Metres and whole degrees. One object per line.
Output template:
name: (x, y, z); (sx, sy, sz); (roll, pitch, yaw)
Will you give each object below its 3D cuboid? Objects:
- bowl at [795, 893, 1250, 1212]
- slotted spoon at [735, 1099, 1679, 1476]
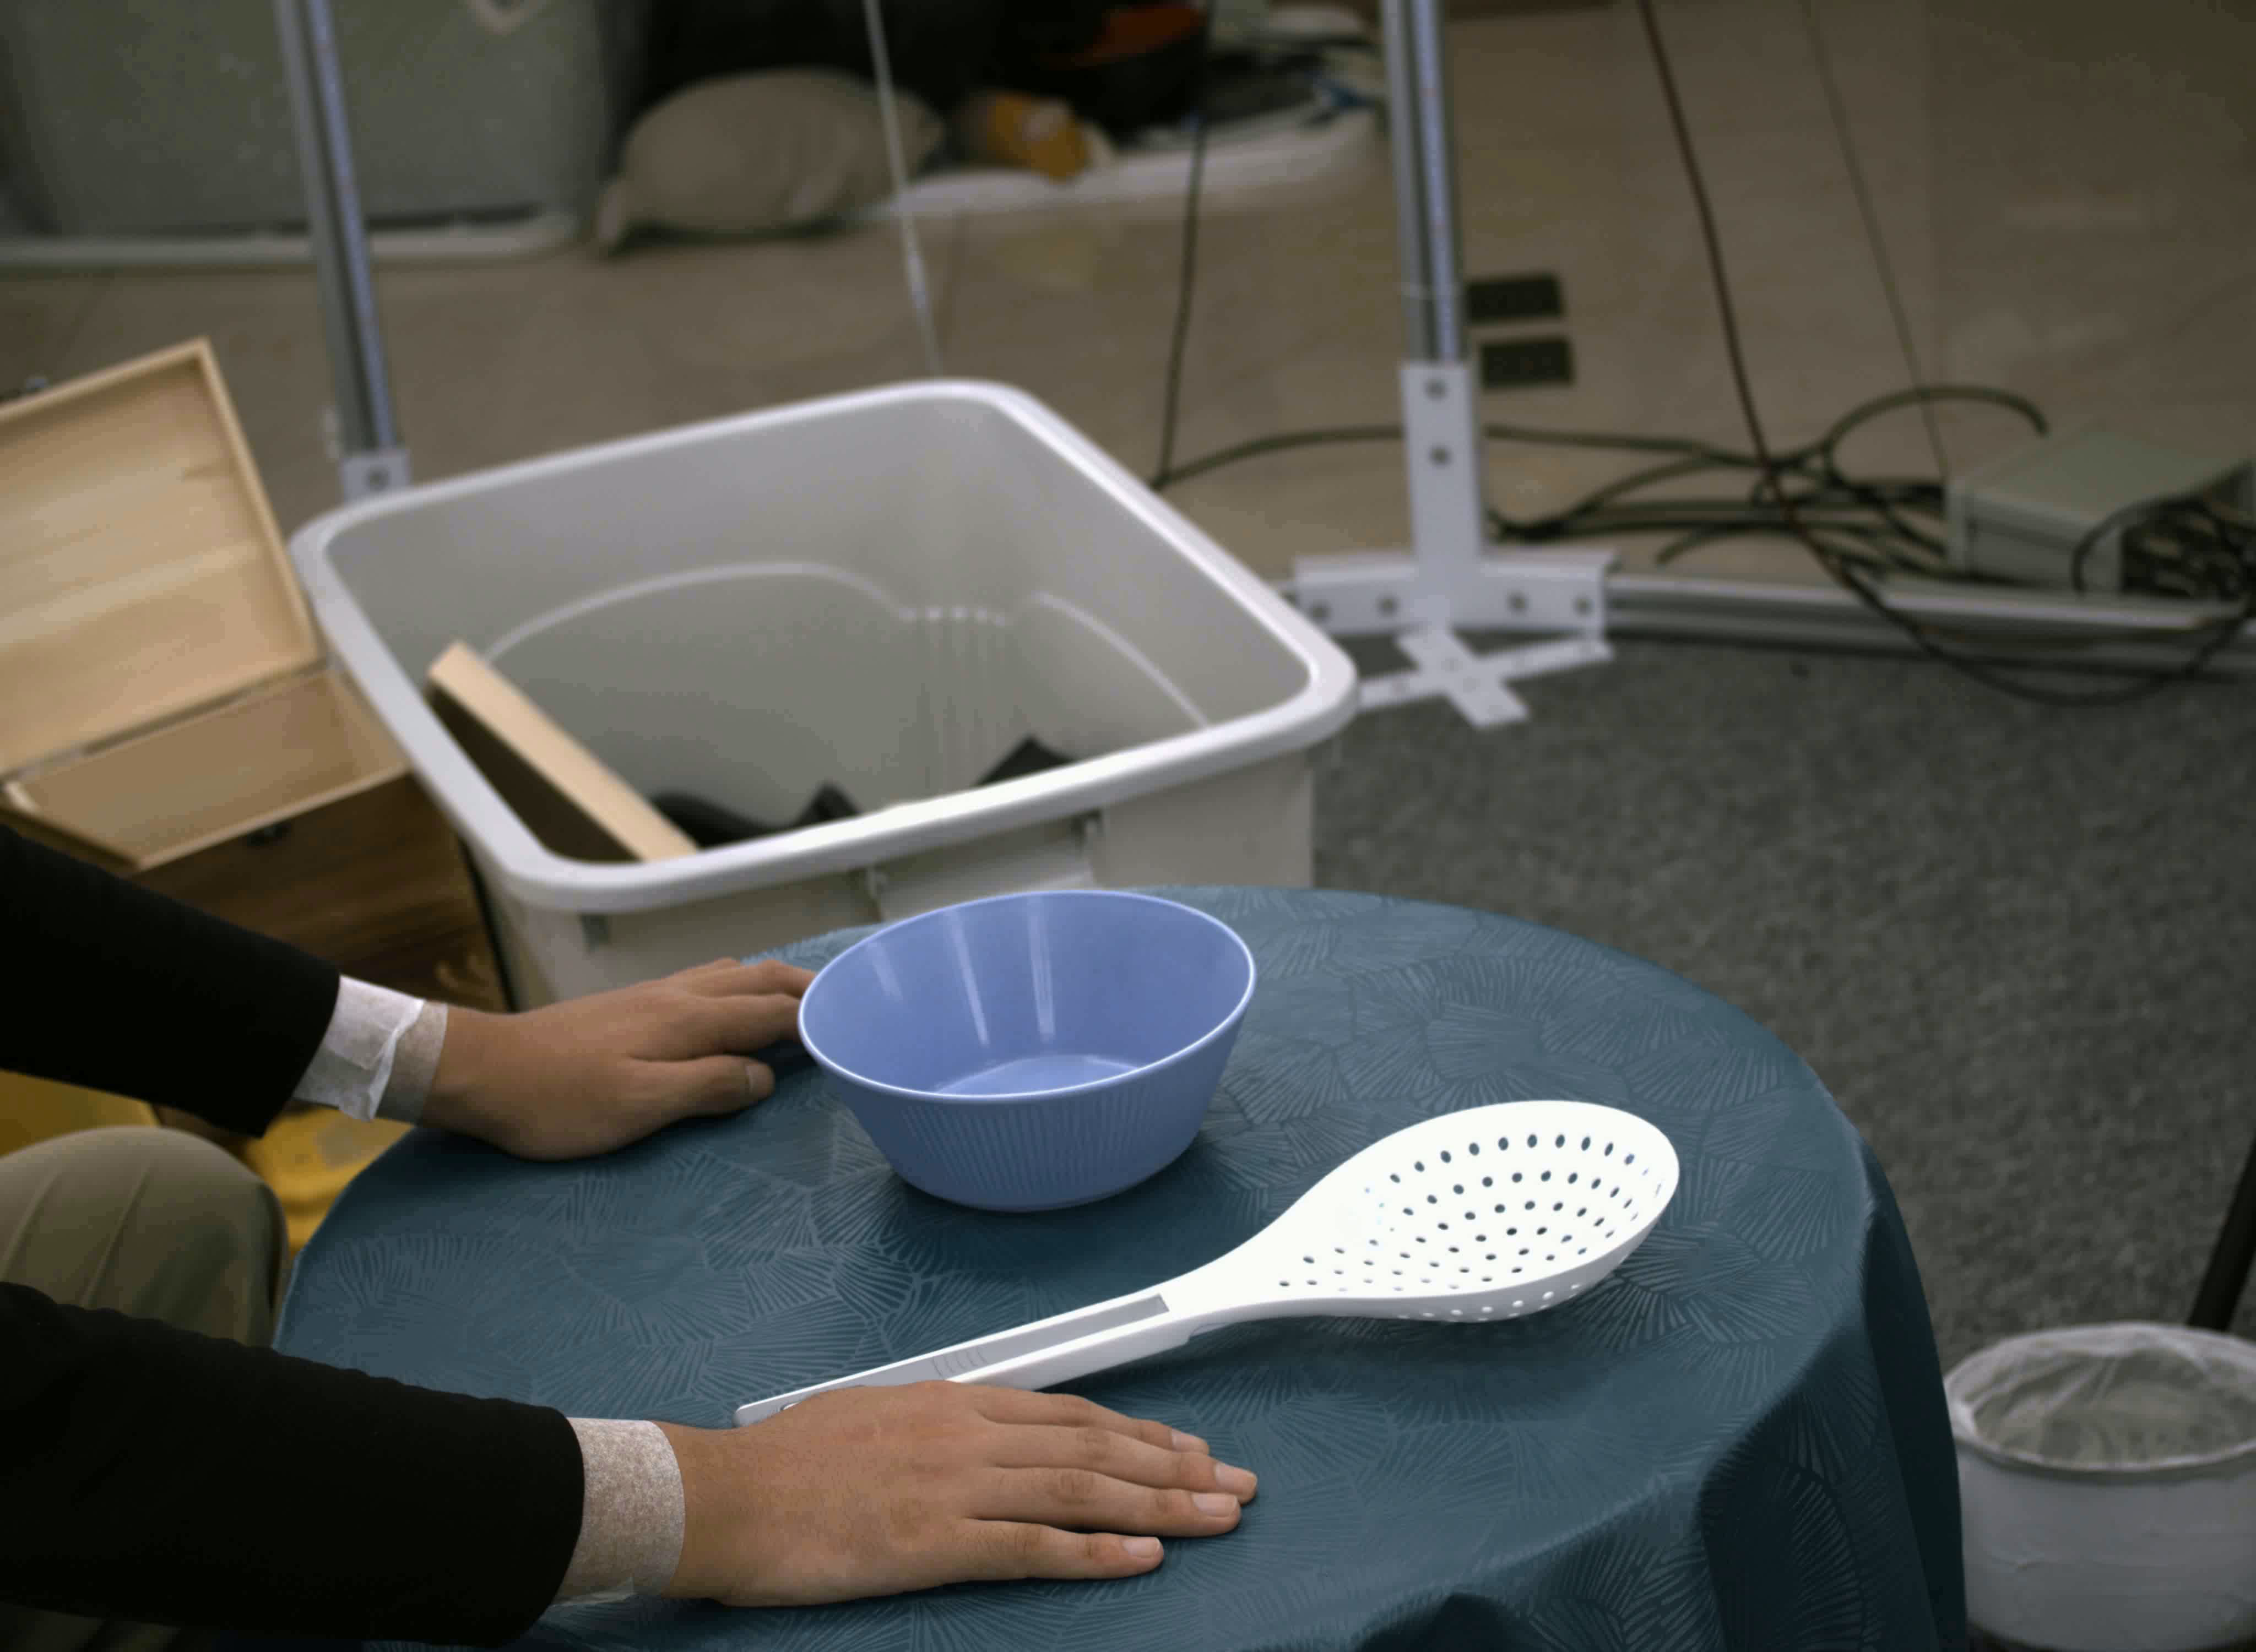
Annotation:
bowl: (-0.037, 0.093, 2.174); (0.176, 0.071, 0.173); (-6, 26, 3)
slotted spoon: (0.029, 0.169, 2.021); (0.349, 0.046, 0.134); (-13, 25, -10)
